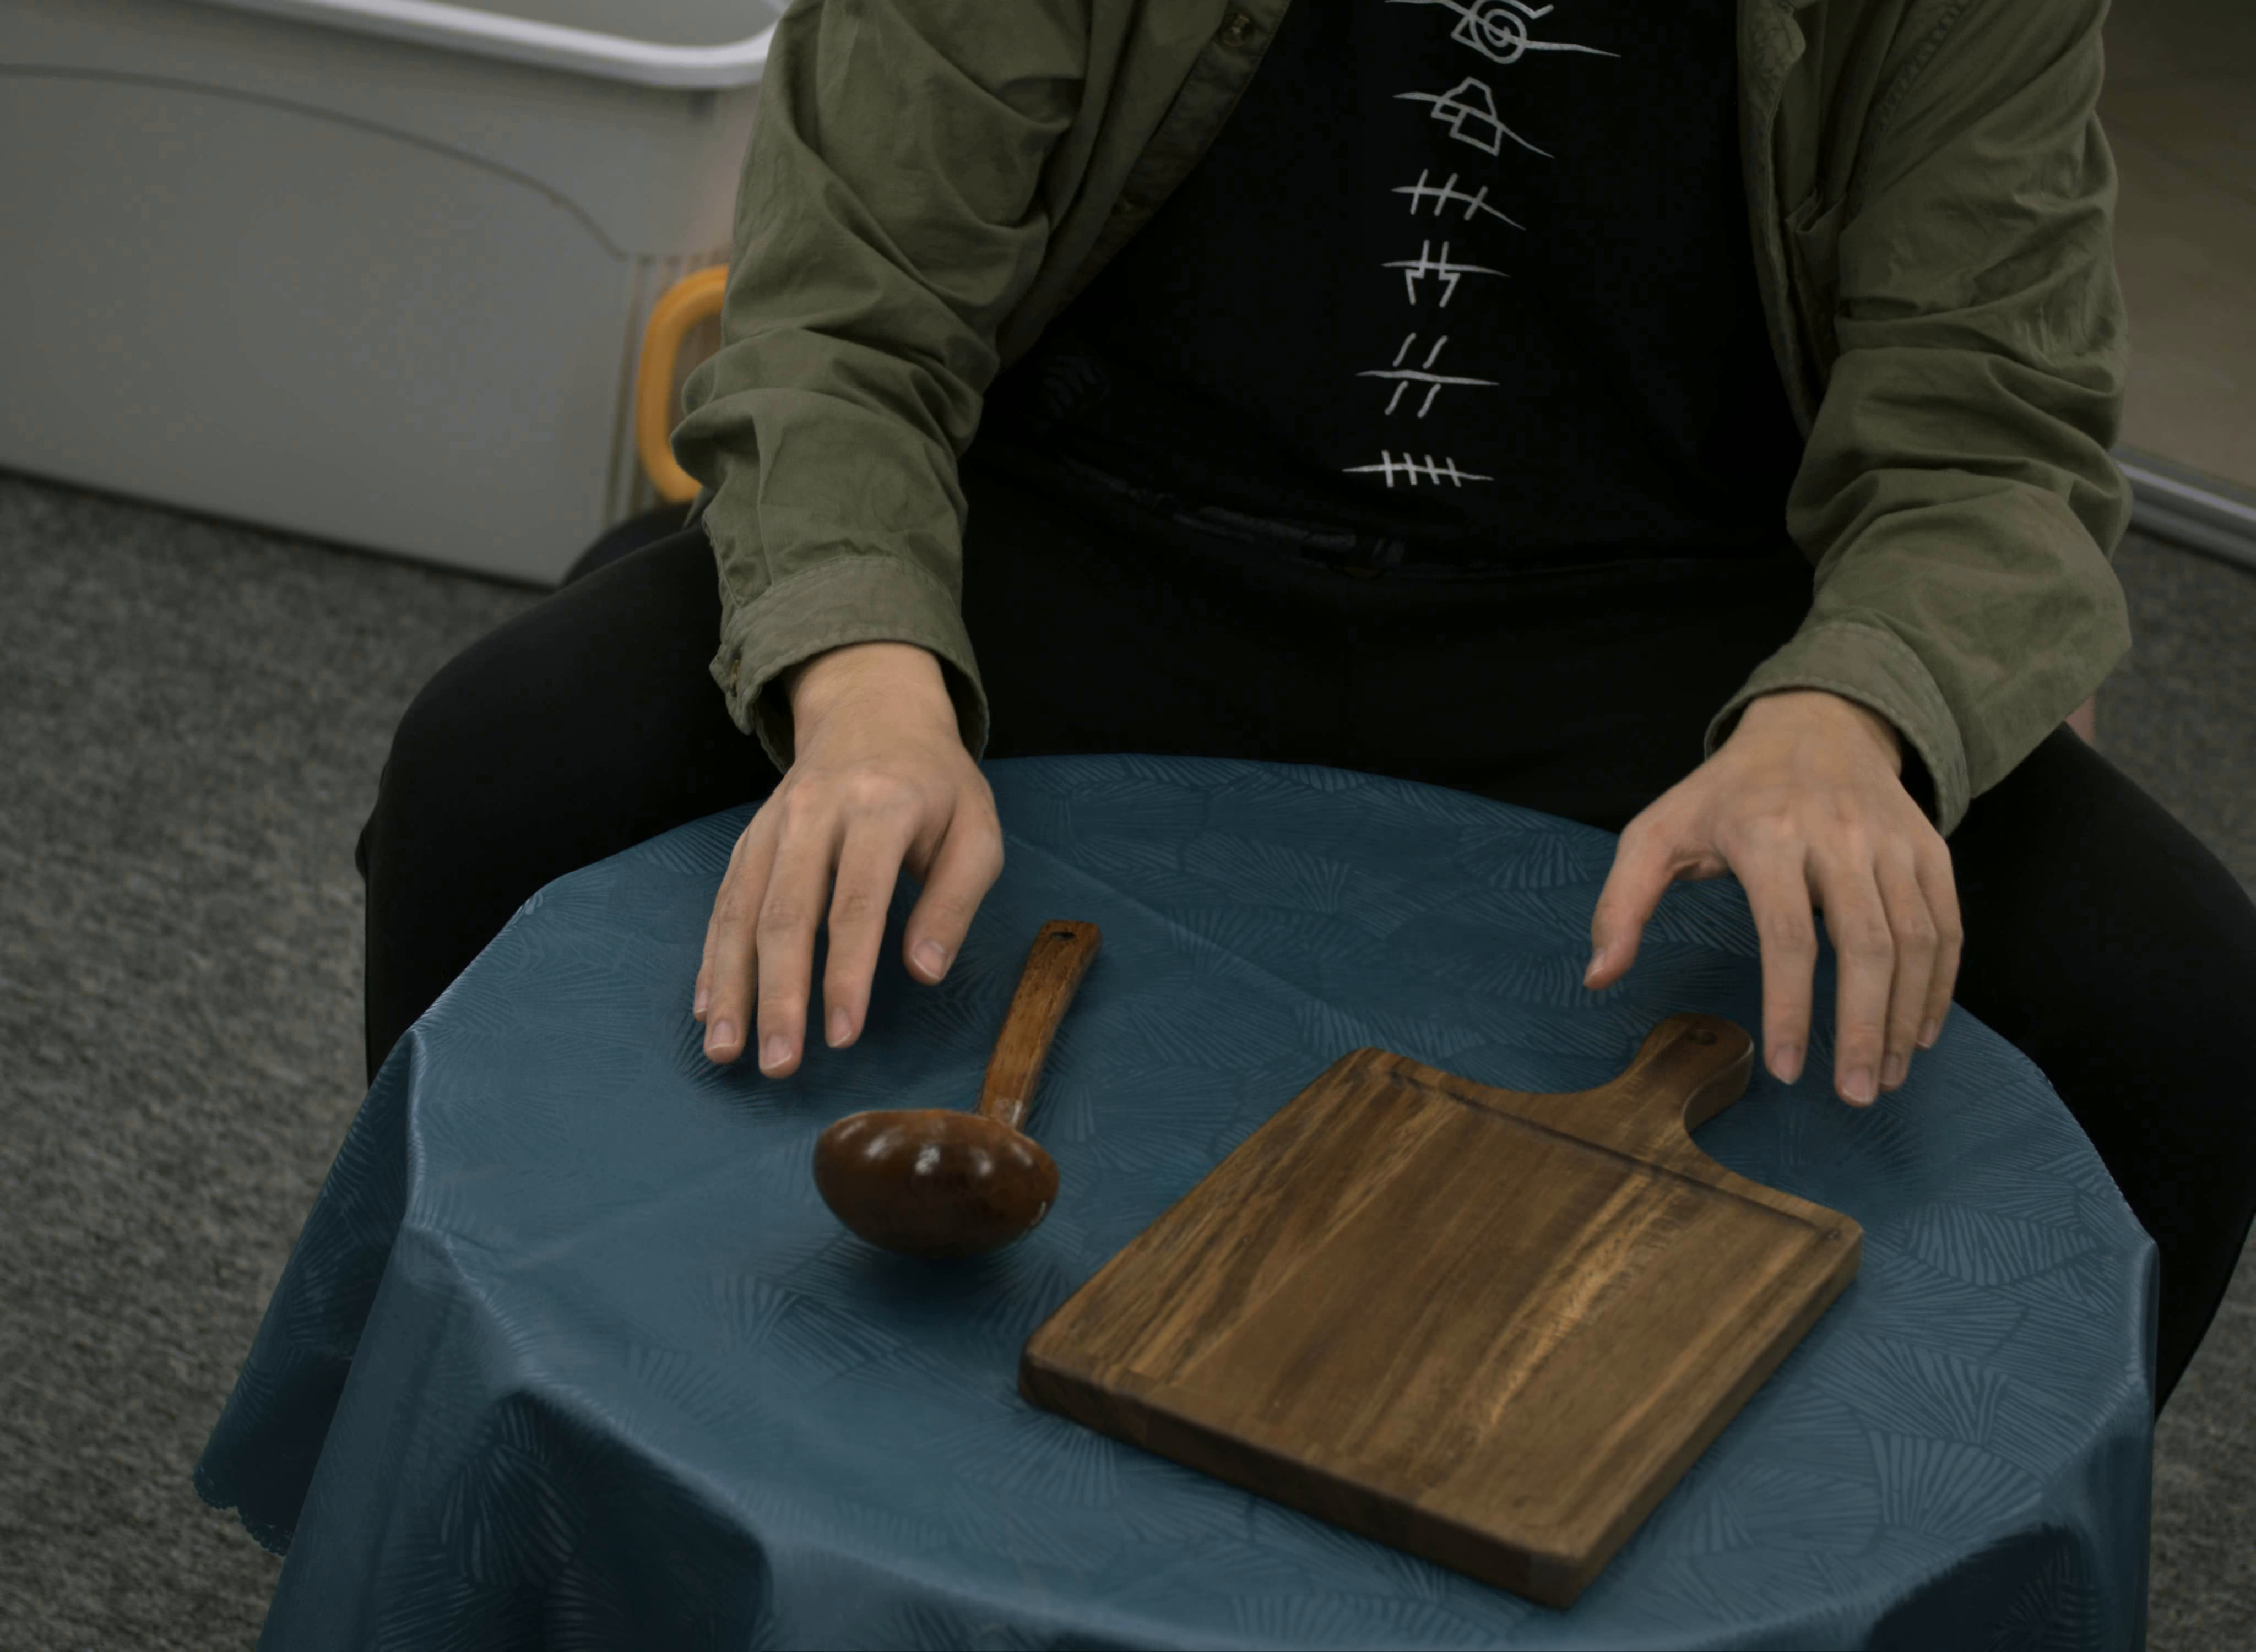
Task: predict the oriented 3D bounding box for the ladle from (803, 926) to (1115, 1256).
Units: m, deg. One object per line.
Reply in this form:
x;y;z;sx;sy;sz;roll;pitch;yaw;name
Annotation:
-0.045;0.069;1.814;0.082;0.076;0.275;6;26;10;ladle

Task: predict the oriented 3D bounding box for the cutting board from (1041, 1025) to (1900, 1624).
0.140;0.143;1.766;0.202;0.023;0.351;20;30;24;cutting board
